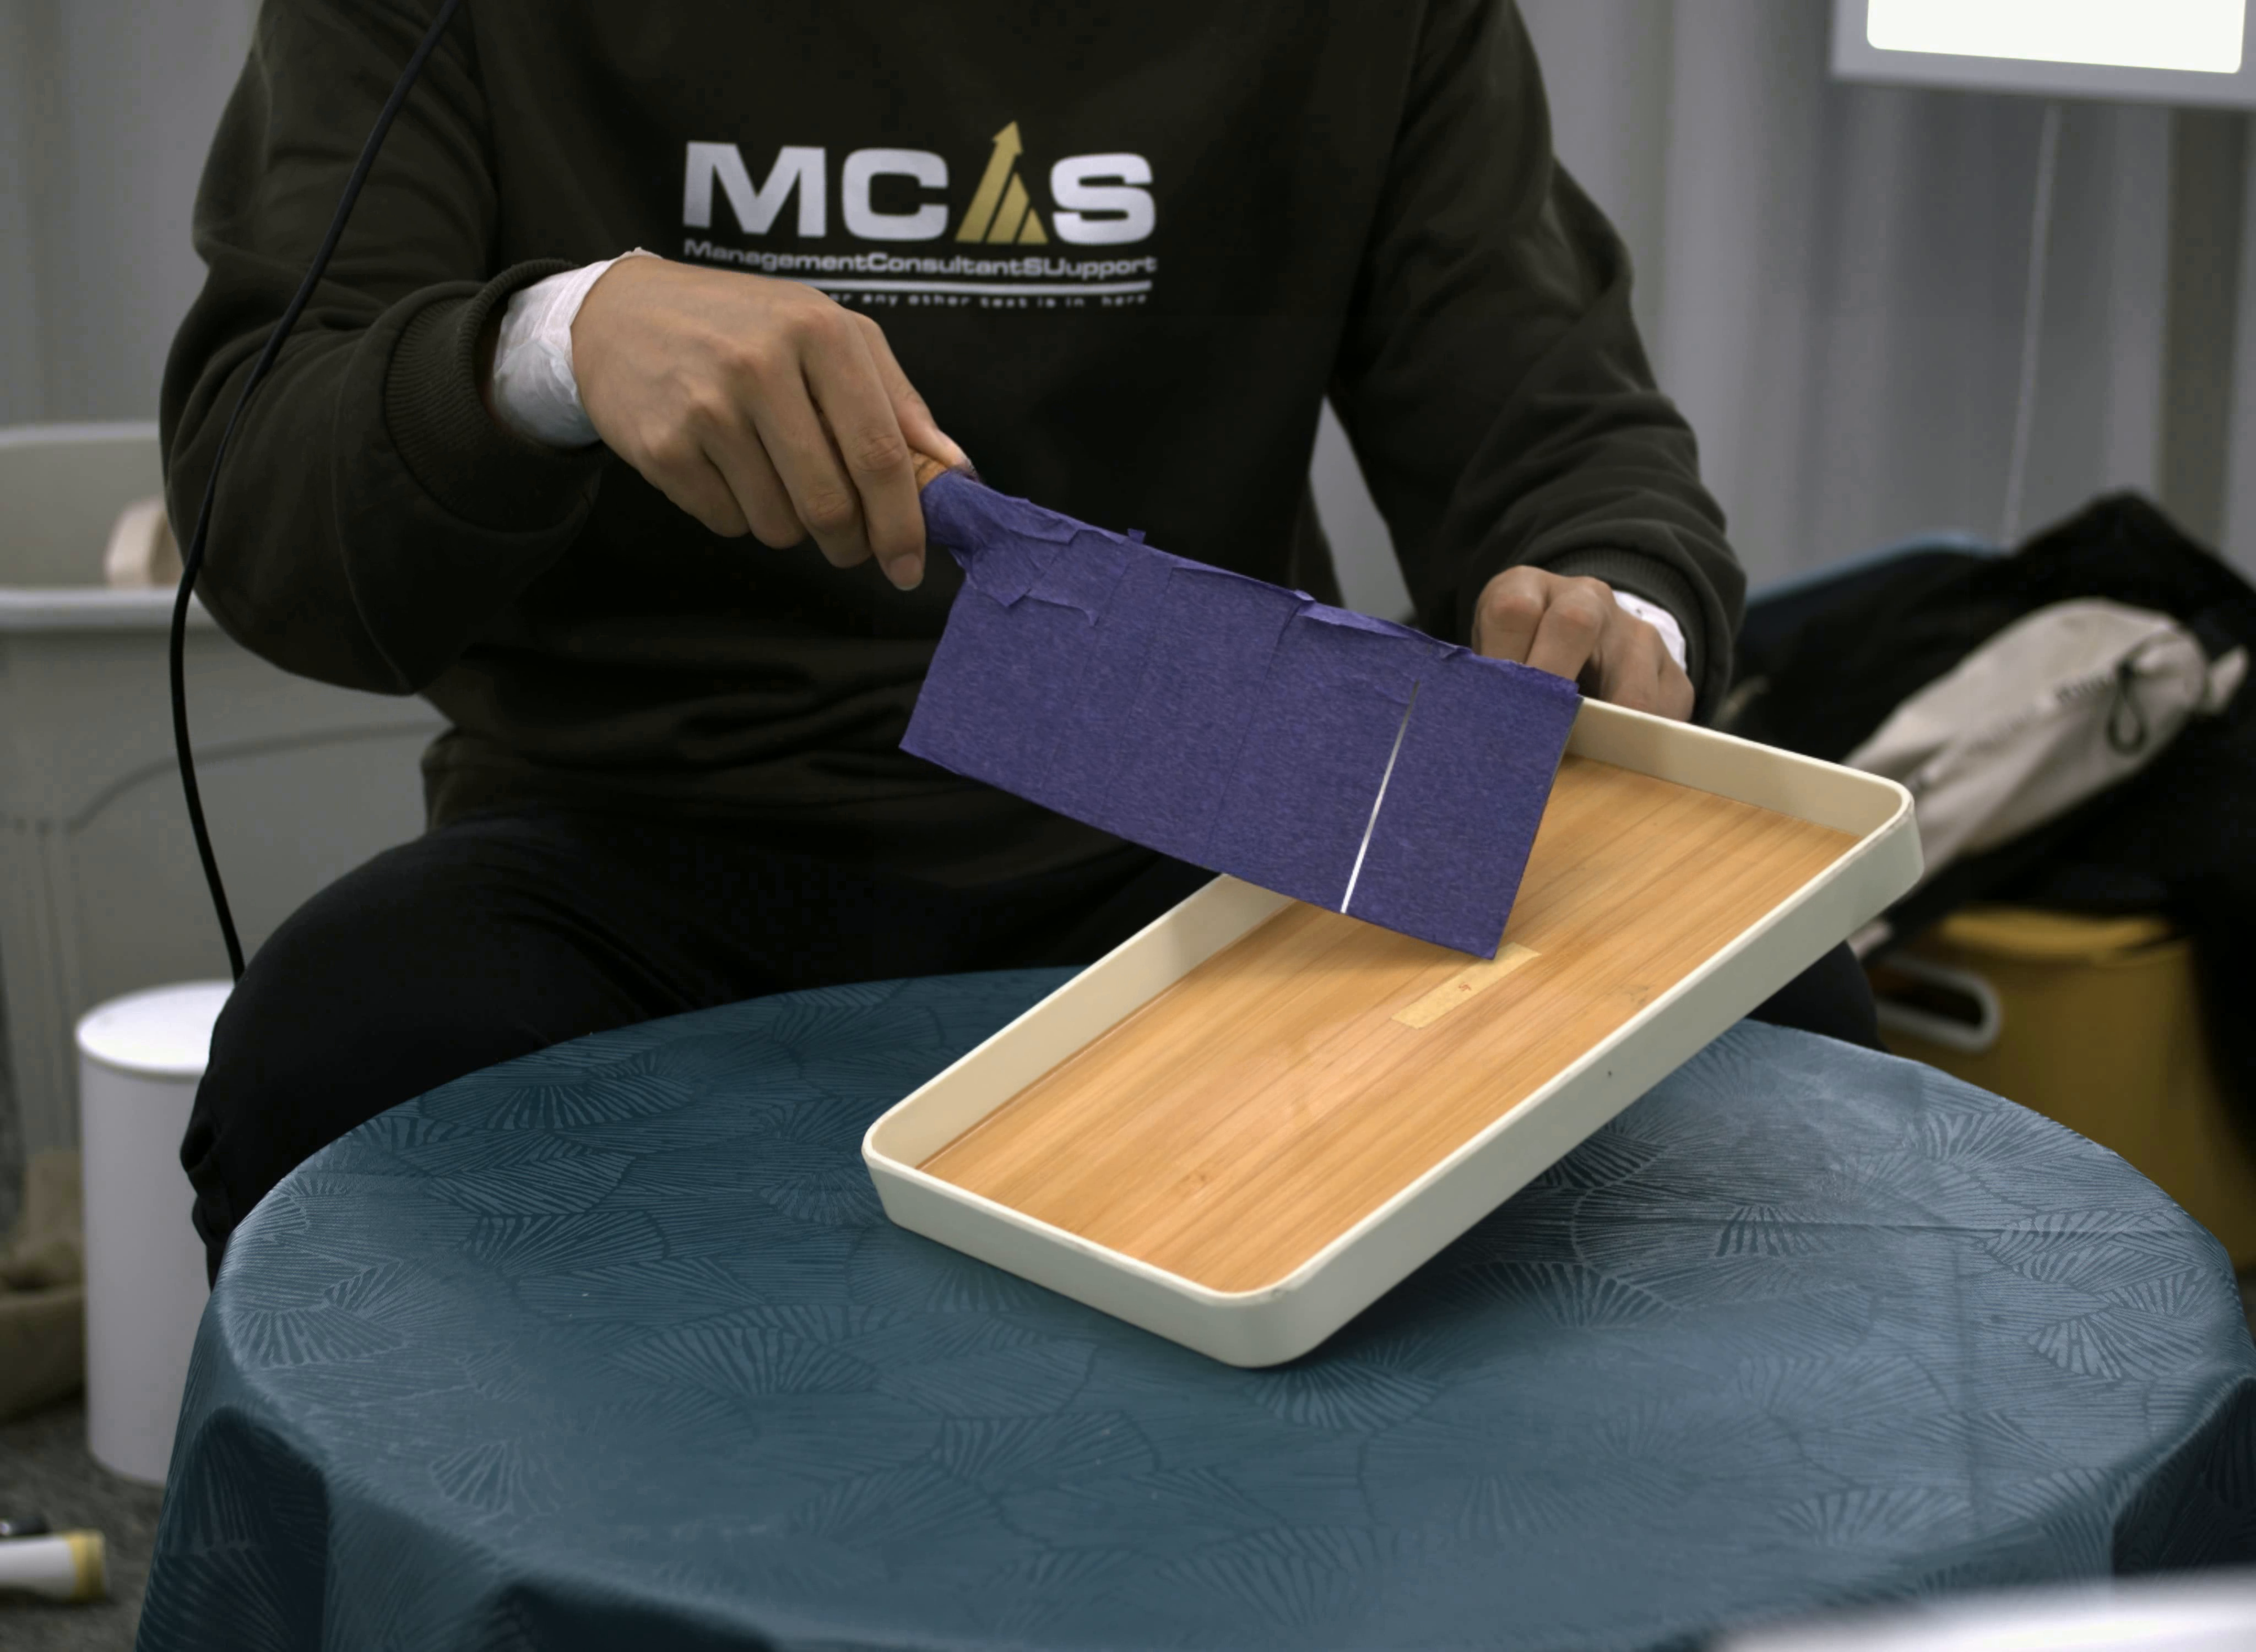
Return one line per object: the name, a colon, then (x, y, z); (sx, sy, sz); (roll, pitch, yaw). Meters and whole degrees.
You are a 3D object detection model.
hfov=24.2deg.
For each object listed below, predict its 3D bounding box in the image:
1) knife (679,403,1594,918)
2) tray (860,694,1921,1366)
knife: (-0.012, -0.052, 1.664); (0.312, 0.104, 0.032); (18, -4, 19)
tray: (0.082, 0.053, 1.606); (0.300, 0.028, 0.189); (-35, 32, -30)
